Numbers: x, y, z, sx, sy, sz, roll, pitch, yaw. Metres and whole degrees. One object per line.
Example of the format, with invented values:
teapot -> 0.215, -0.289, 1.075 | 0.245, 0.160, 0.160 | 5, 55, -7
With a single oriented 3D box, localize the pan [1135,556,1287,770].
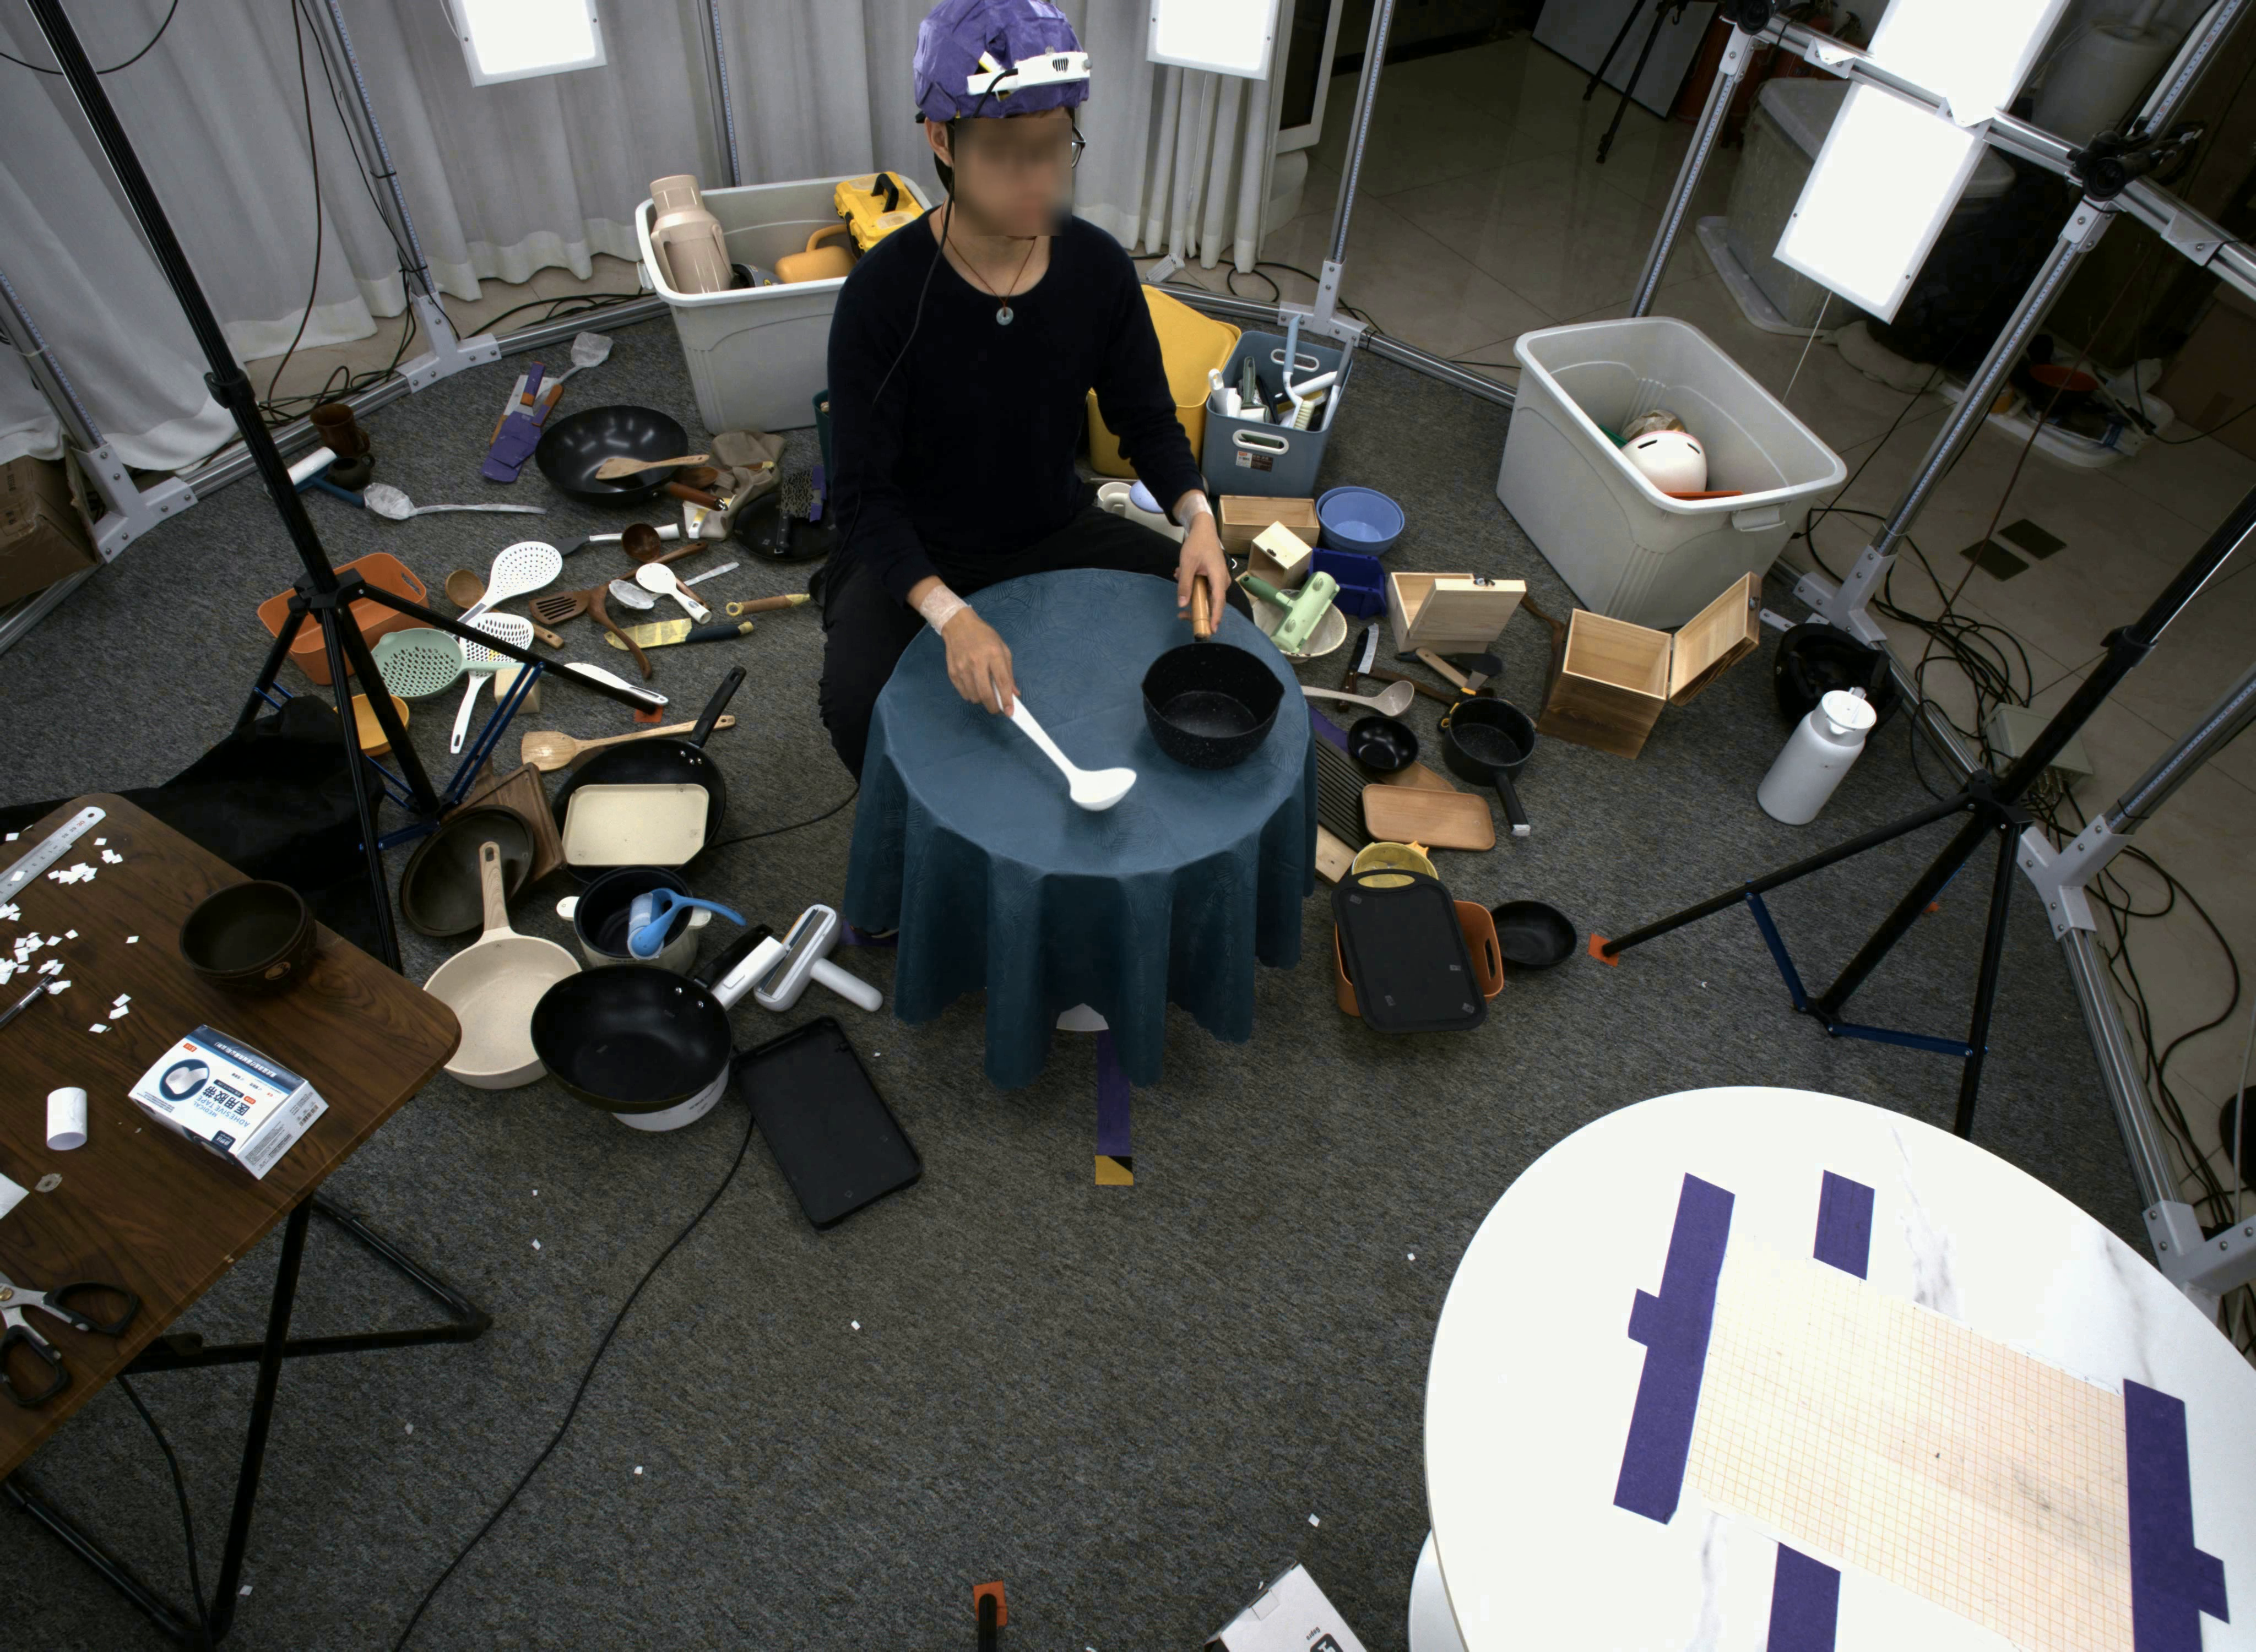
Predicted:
pan -> 0.105, -0.230, 1.805 | 0.207, 0.105, 0.351 | -2, 51, -5

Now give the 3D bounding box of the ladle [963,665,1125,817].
ladle -> -0.119, -0.119, 1.690 | 0.091, 0.068, 0.297 | -32, 66, -25
